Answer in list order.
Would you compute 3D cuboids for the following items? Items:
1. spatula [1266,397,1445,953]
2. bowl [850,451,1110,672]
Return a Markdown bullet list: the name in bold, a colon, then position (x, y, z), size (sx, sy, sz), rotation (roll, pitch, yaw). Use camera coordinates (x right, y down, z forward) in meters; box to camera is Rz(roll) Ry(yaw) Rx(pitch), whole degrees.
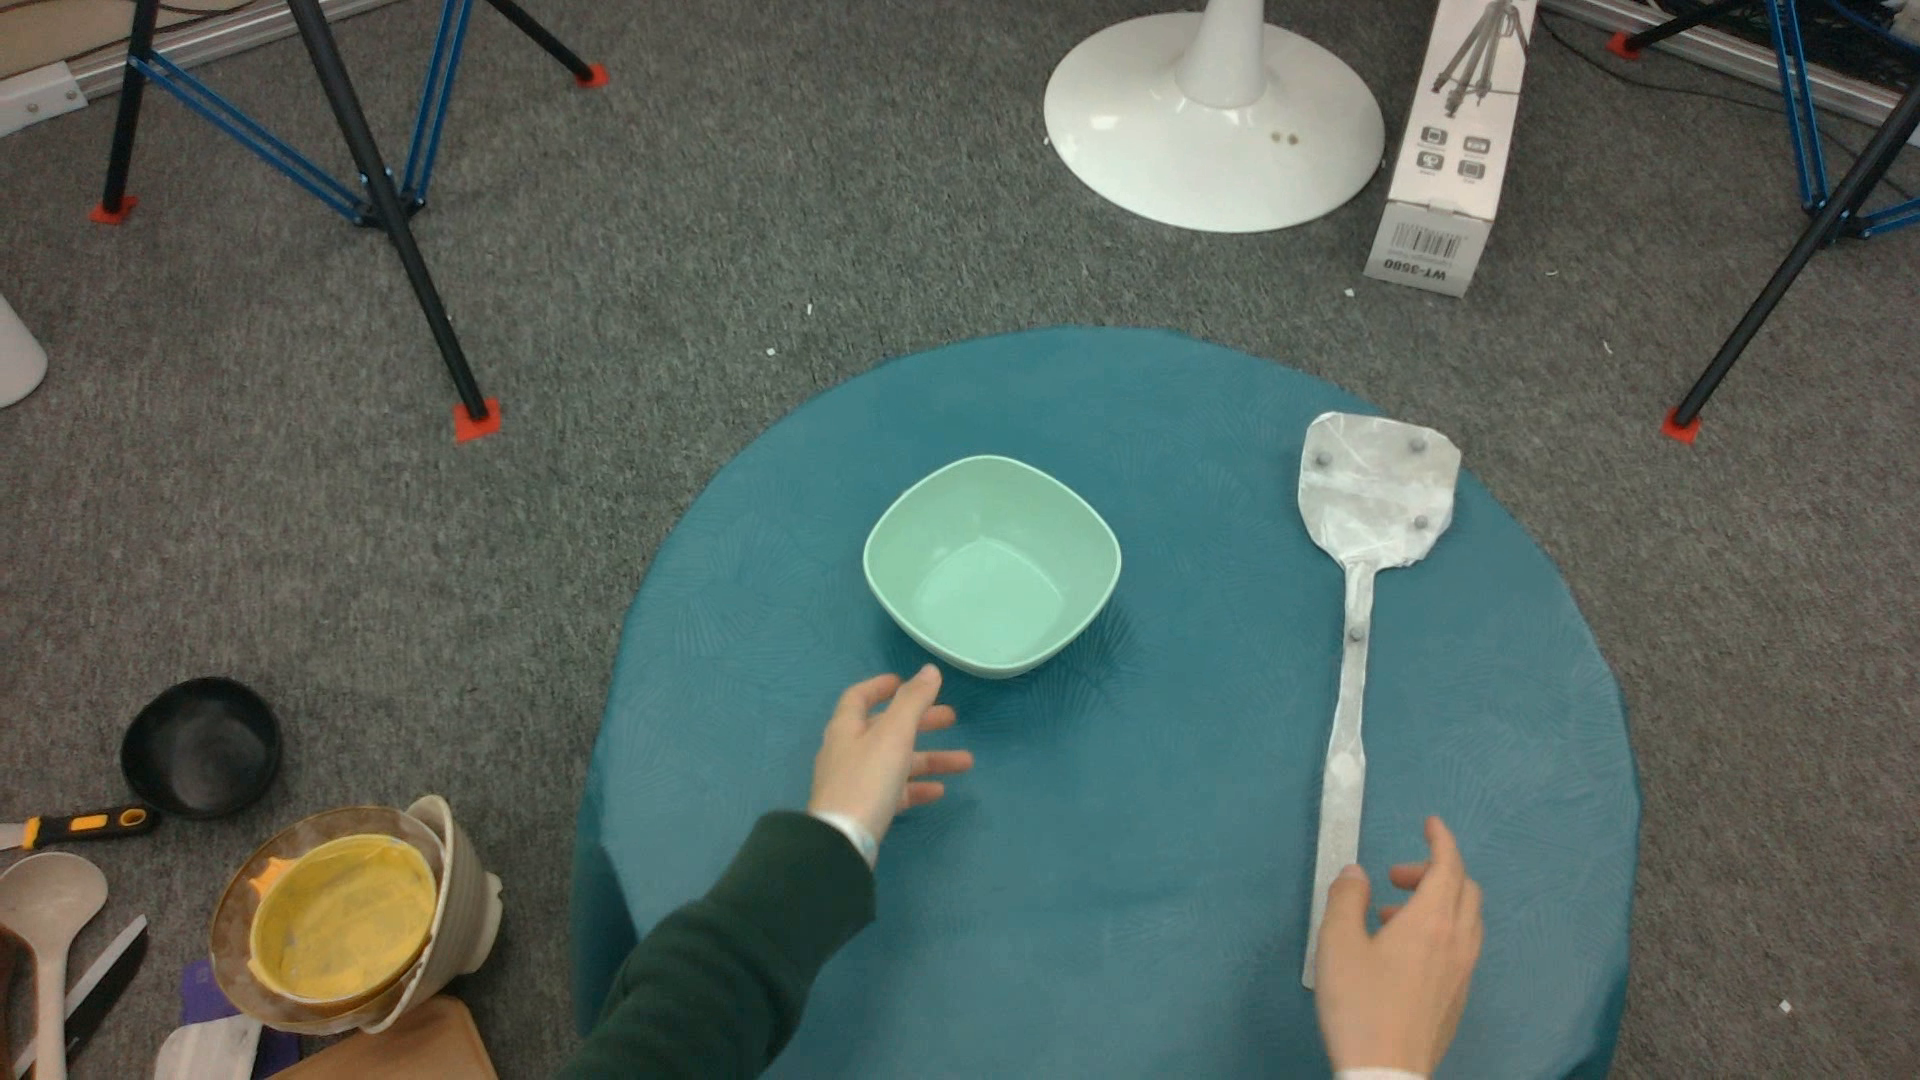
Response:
- **spatula**: position (0.221, 0.066, 0.811), size (0.098, 0.044, 0.366), rotation (15, 55, 5)
- **bowl**: position (0.011, 0.022, 0.820), size (0.151, 0.058, 0.152), rotation (1, 53, -2)
